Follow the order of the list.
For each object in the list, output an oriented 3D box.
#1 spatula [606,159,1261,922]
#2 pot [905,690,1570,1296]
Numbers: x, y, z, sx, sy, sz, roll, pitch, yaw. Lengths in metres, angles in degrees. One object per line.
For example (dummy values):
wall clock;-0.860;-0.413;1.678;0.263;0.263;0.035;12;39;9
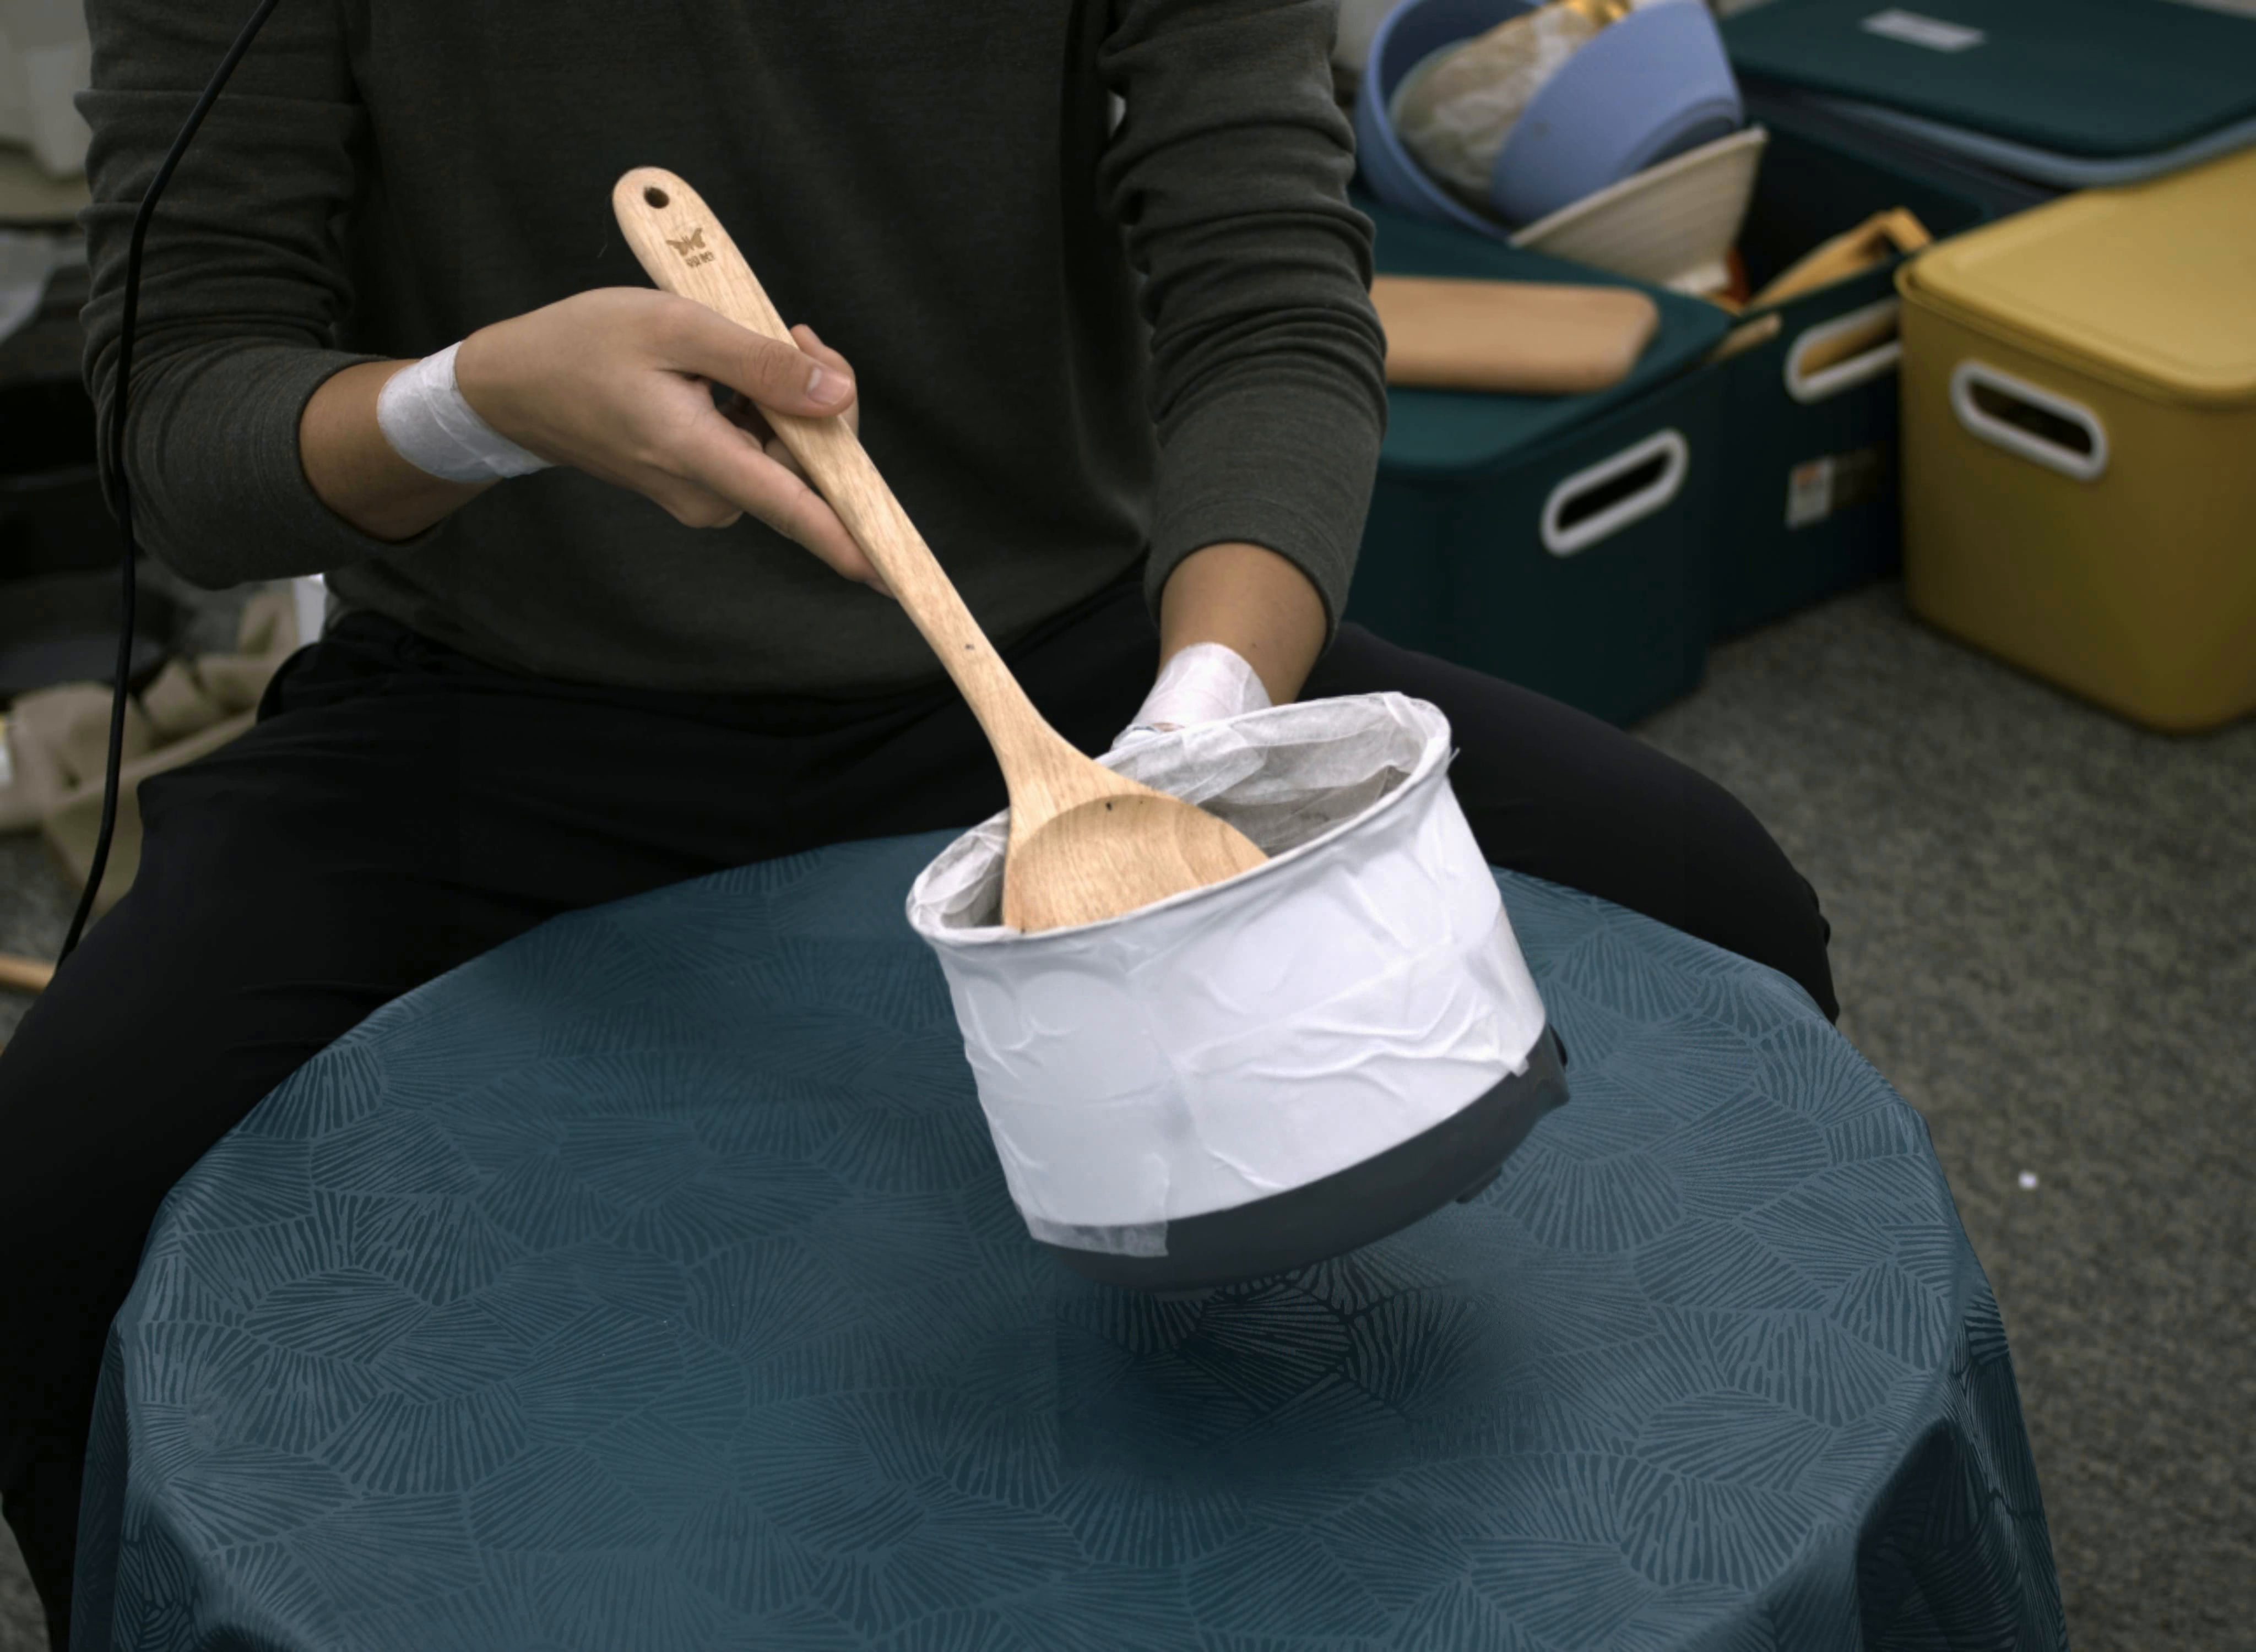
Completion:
spatula;-0.074;-0.080;1.825;0.096;0.018;0.394;-22;61;-24
pot;0.031;0.045;1.763;0.178;0.136;0.235;-19;15;-4
